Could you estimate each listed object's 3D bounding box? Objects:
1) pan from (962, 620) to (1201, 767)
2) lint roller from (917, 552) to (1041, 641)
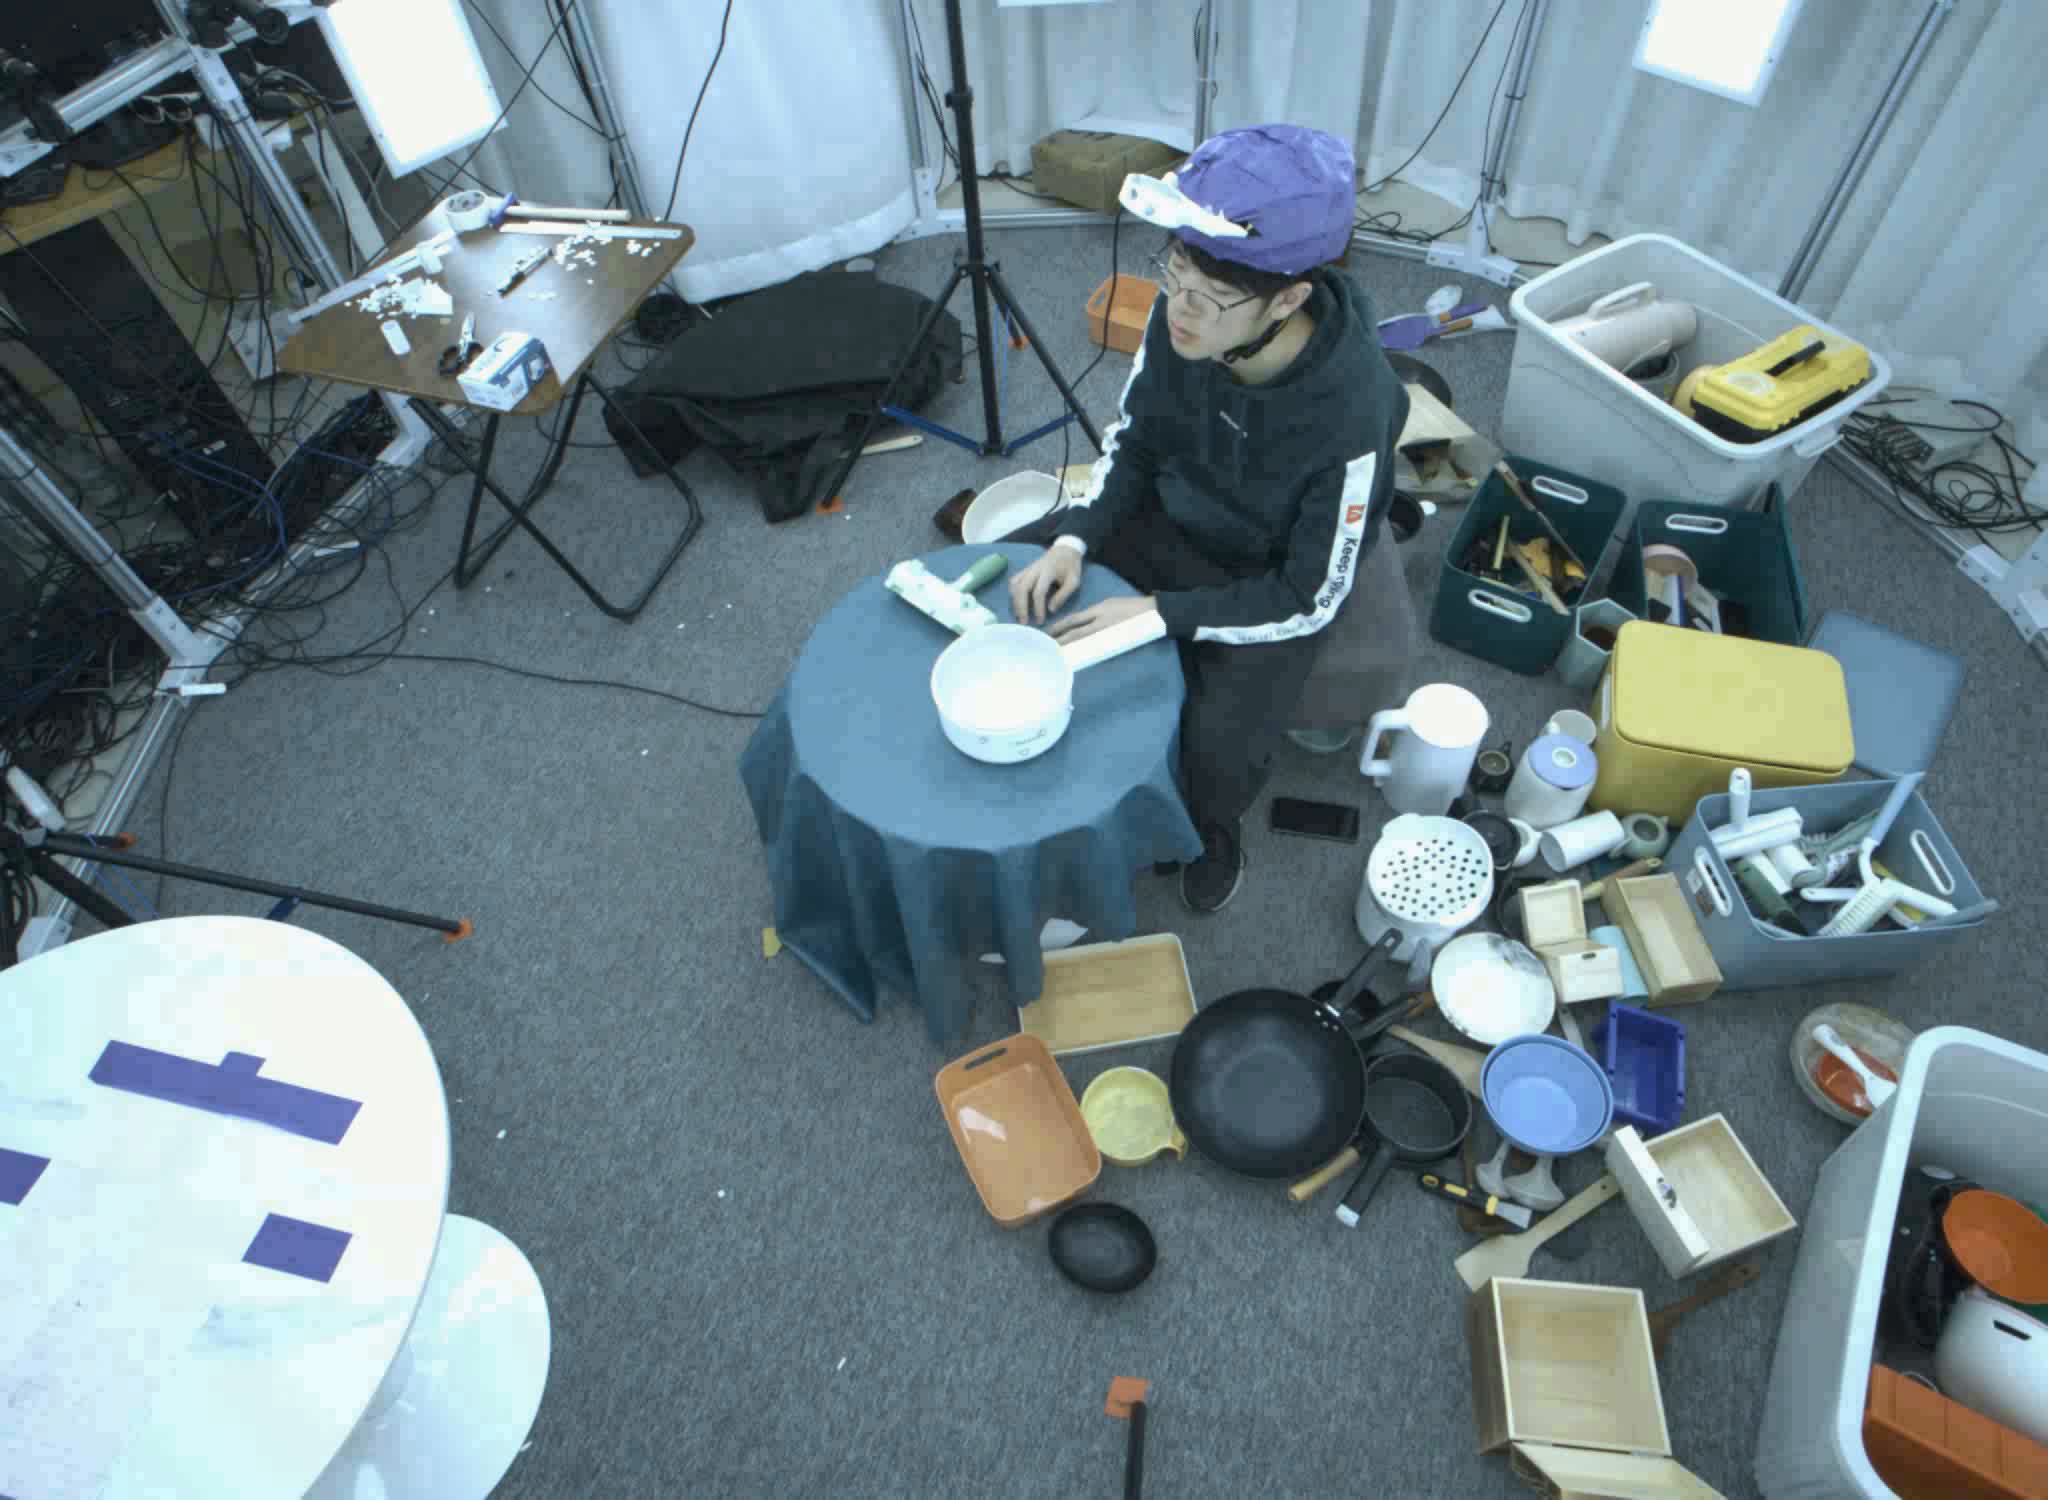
[{"bbox_3d":[0.086,-0.096,1.787,0.357,0.103,0.197,-19,56,-12],"label":"pan"},{"bbox_3d":[-0.042,-0.272,1.931,0.195,0.083,0.184,37,69,25],"label":"lint roller"}]
